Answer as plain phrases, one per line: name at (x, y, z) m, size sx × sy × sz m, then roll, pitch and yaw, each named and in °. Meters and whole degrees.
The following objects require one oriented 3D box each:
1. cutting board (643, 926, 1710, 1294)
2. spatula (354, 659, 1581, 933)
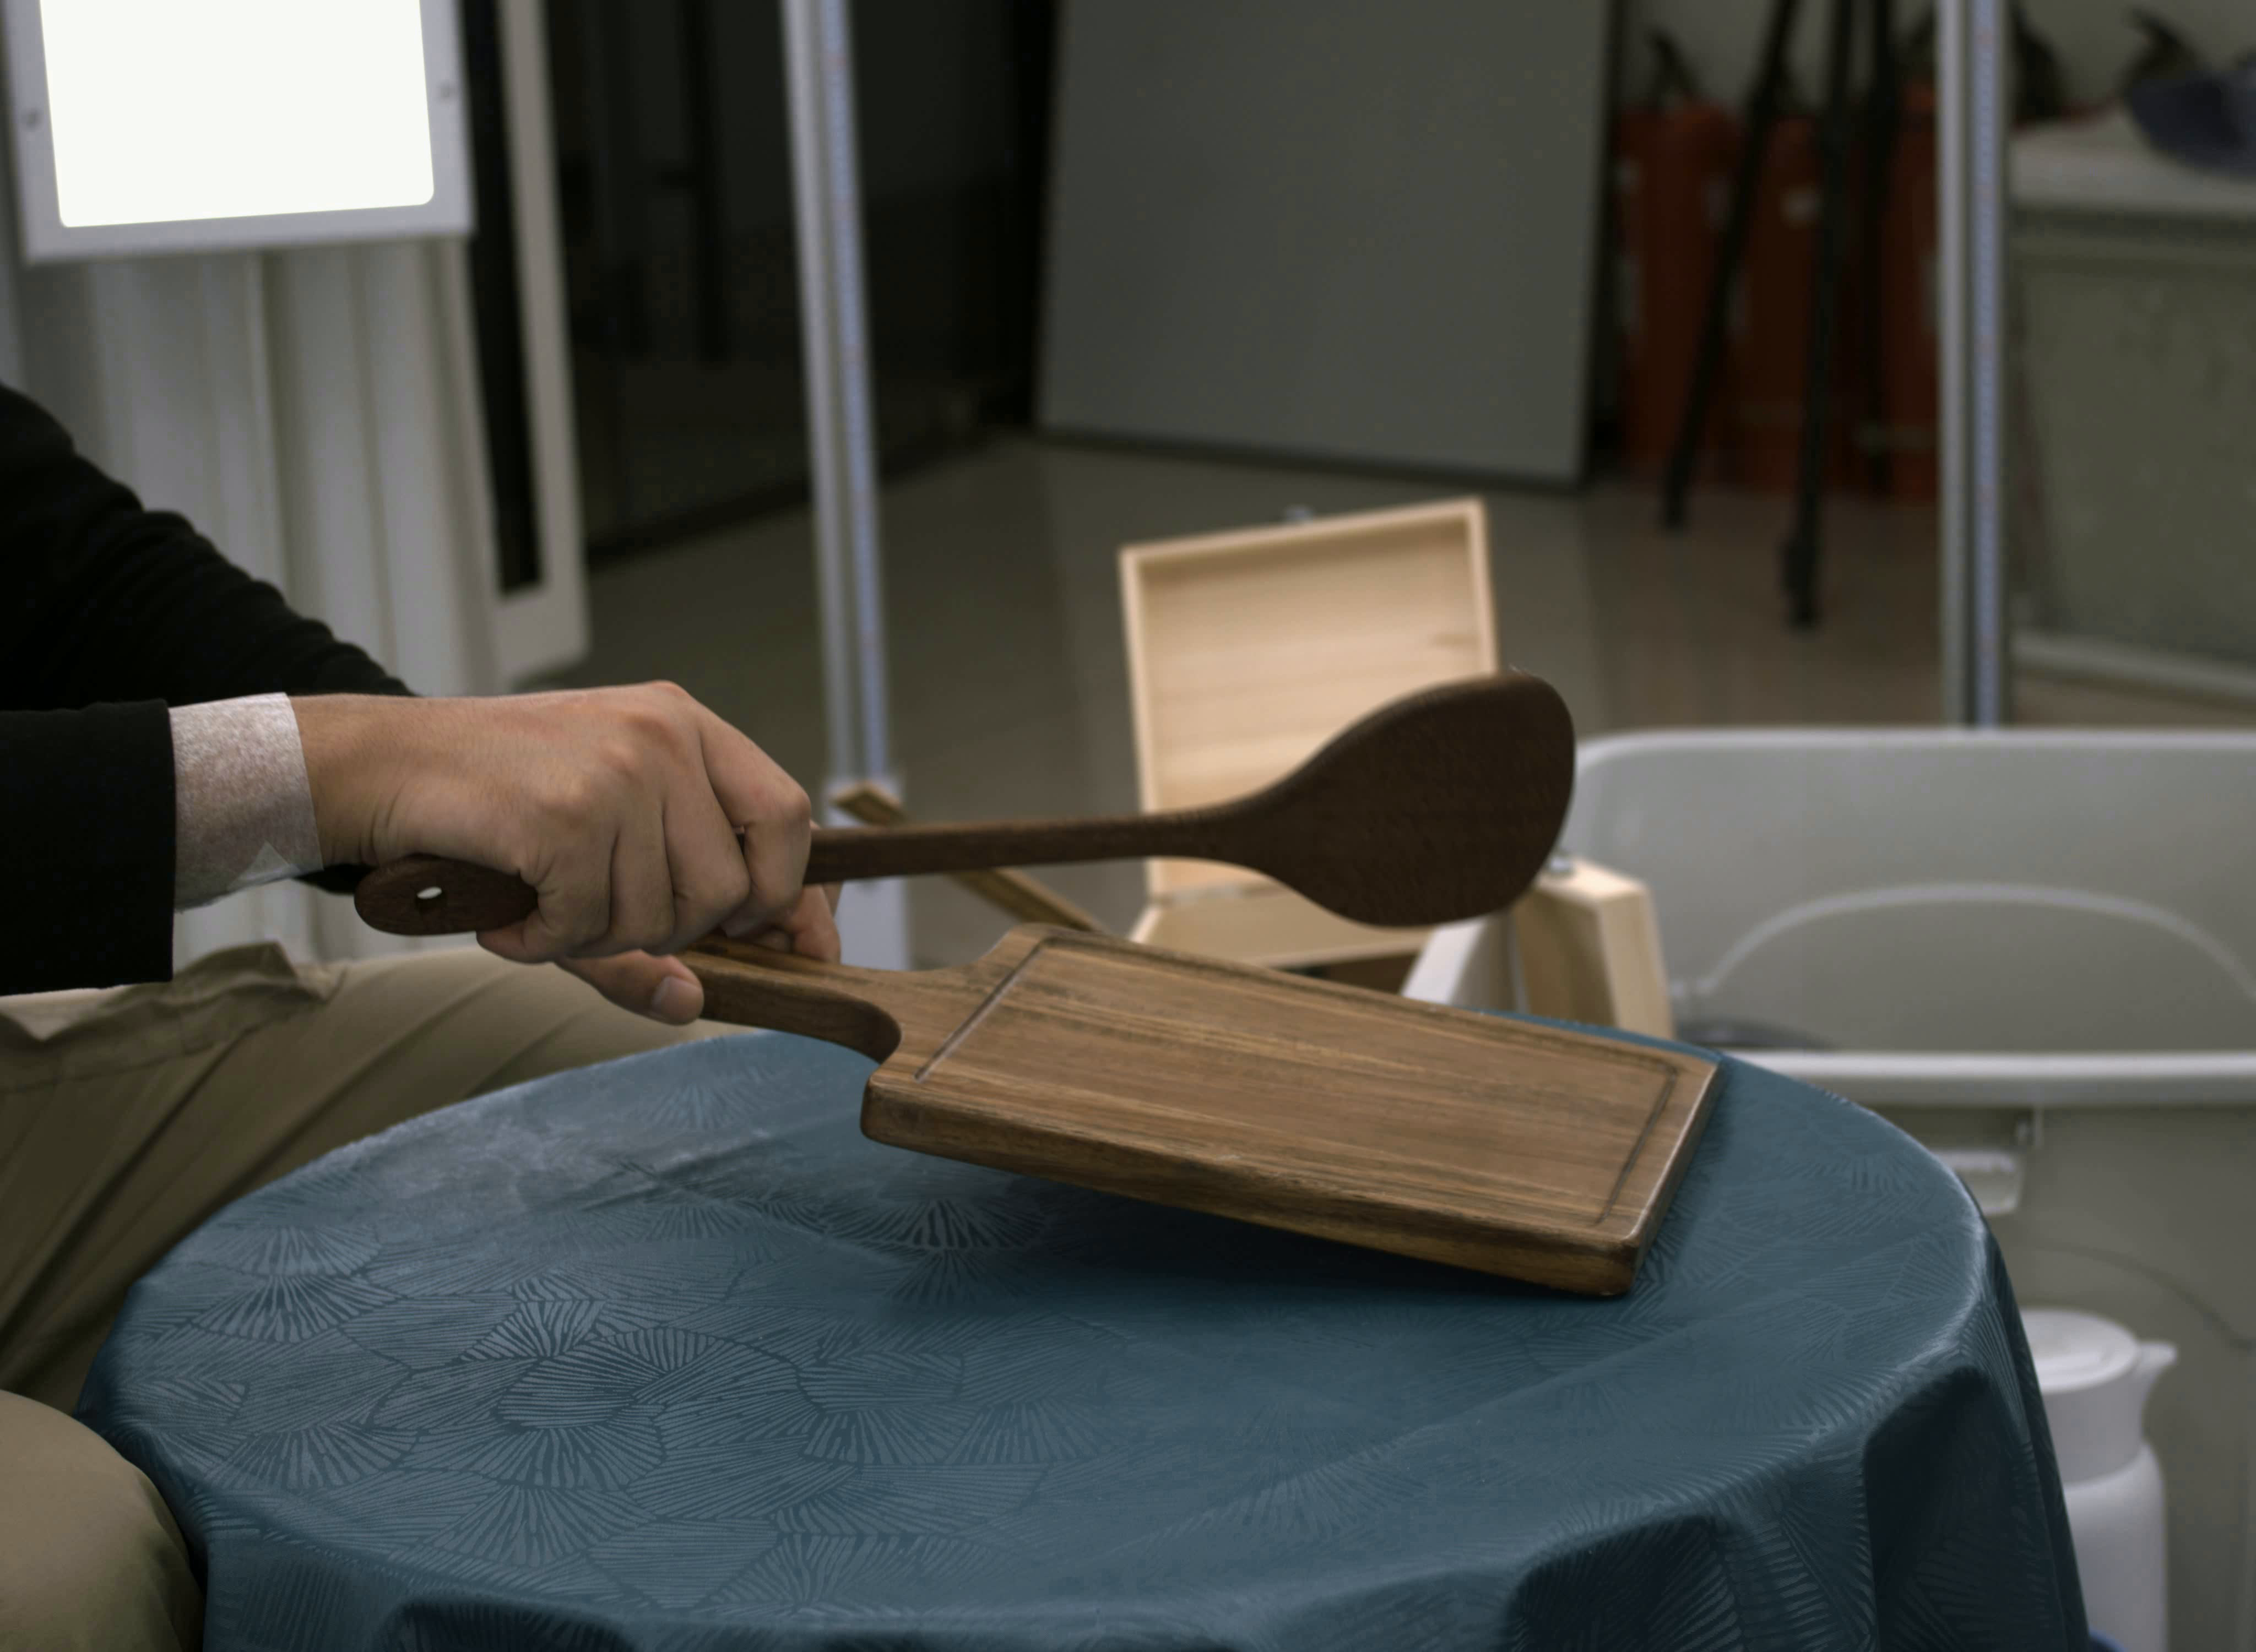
cutting board at (0.009, 0.079, 1.757) m, size 0.350 × 0.023 × 0.199 m, roll 11°, pitch 17°, yaw 13°
spatula at (-0.044, 0.004, 1.634) m, size 0.378 × 0.097 × 0.016 m, roll -4°, pitch 36°, yaw -12°
